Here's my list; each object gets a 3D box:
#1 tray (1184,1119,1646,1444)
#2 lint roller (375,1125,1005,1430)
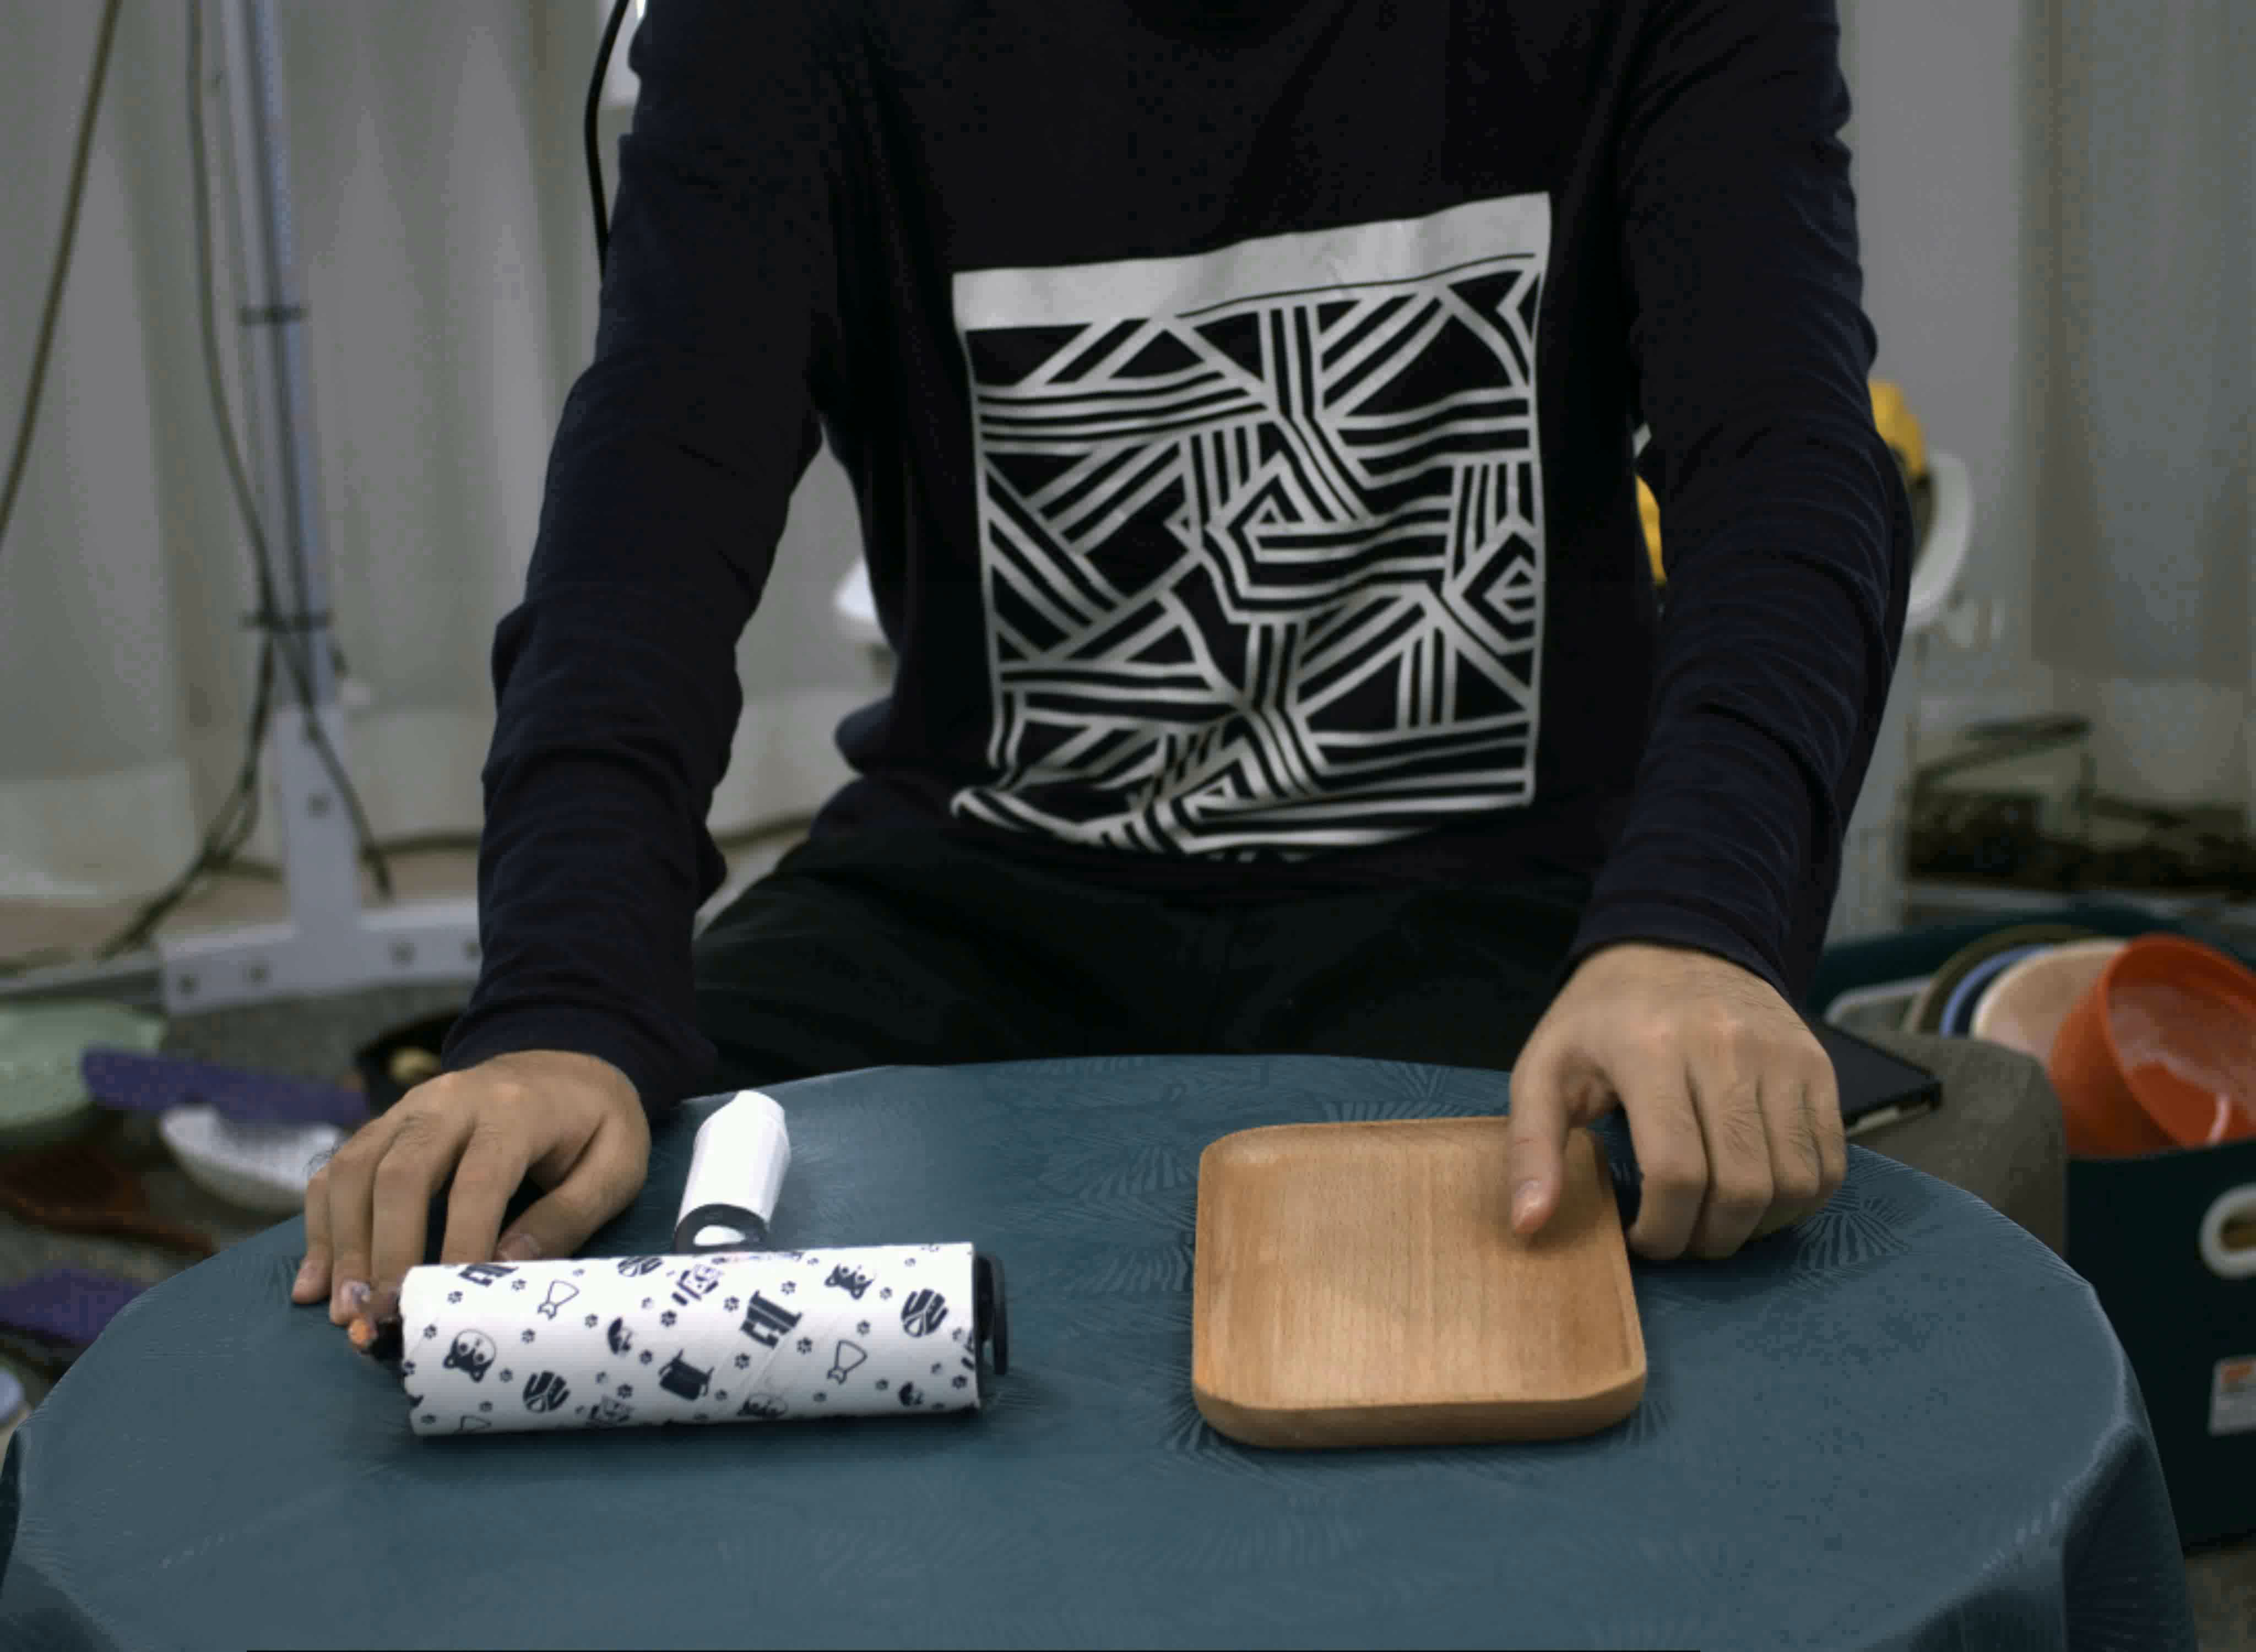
[{"bbox_3d":[0.083,0.131,1.609,0.130,0.023,0.252,1,14,3],"label":"tray"},{"bbox_3d":[-0.124,0.122,1.635,0.176,0.050,0.248,-4,12,0],"label":"lint roller"}]
